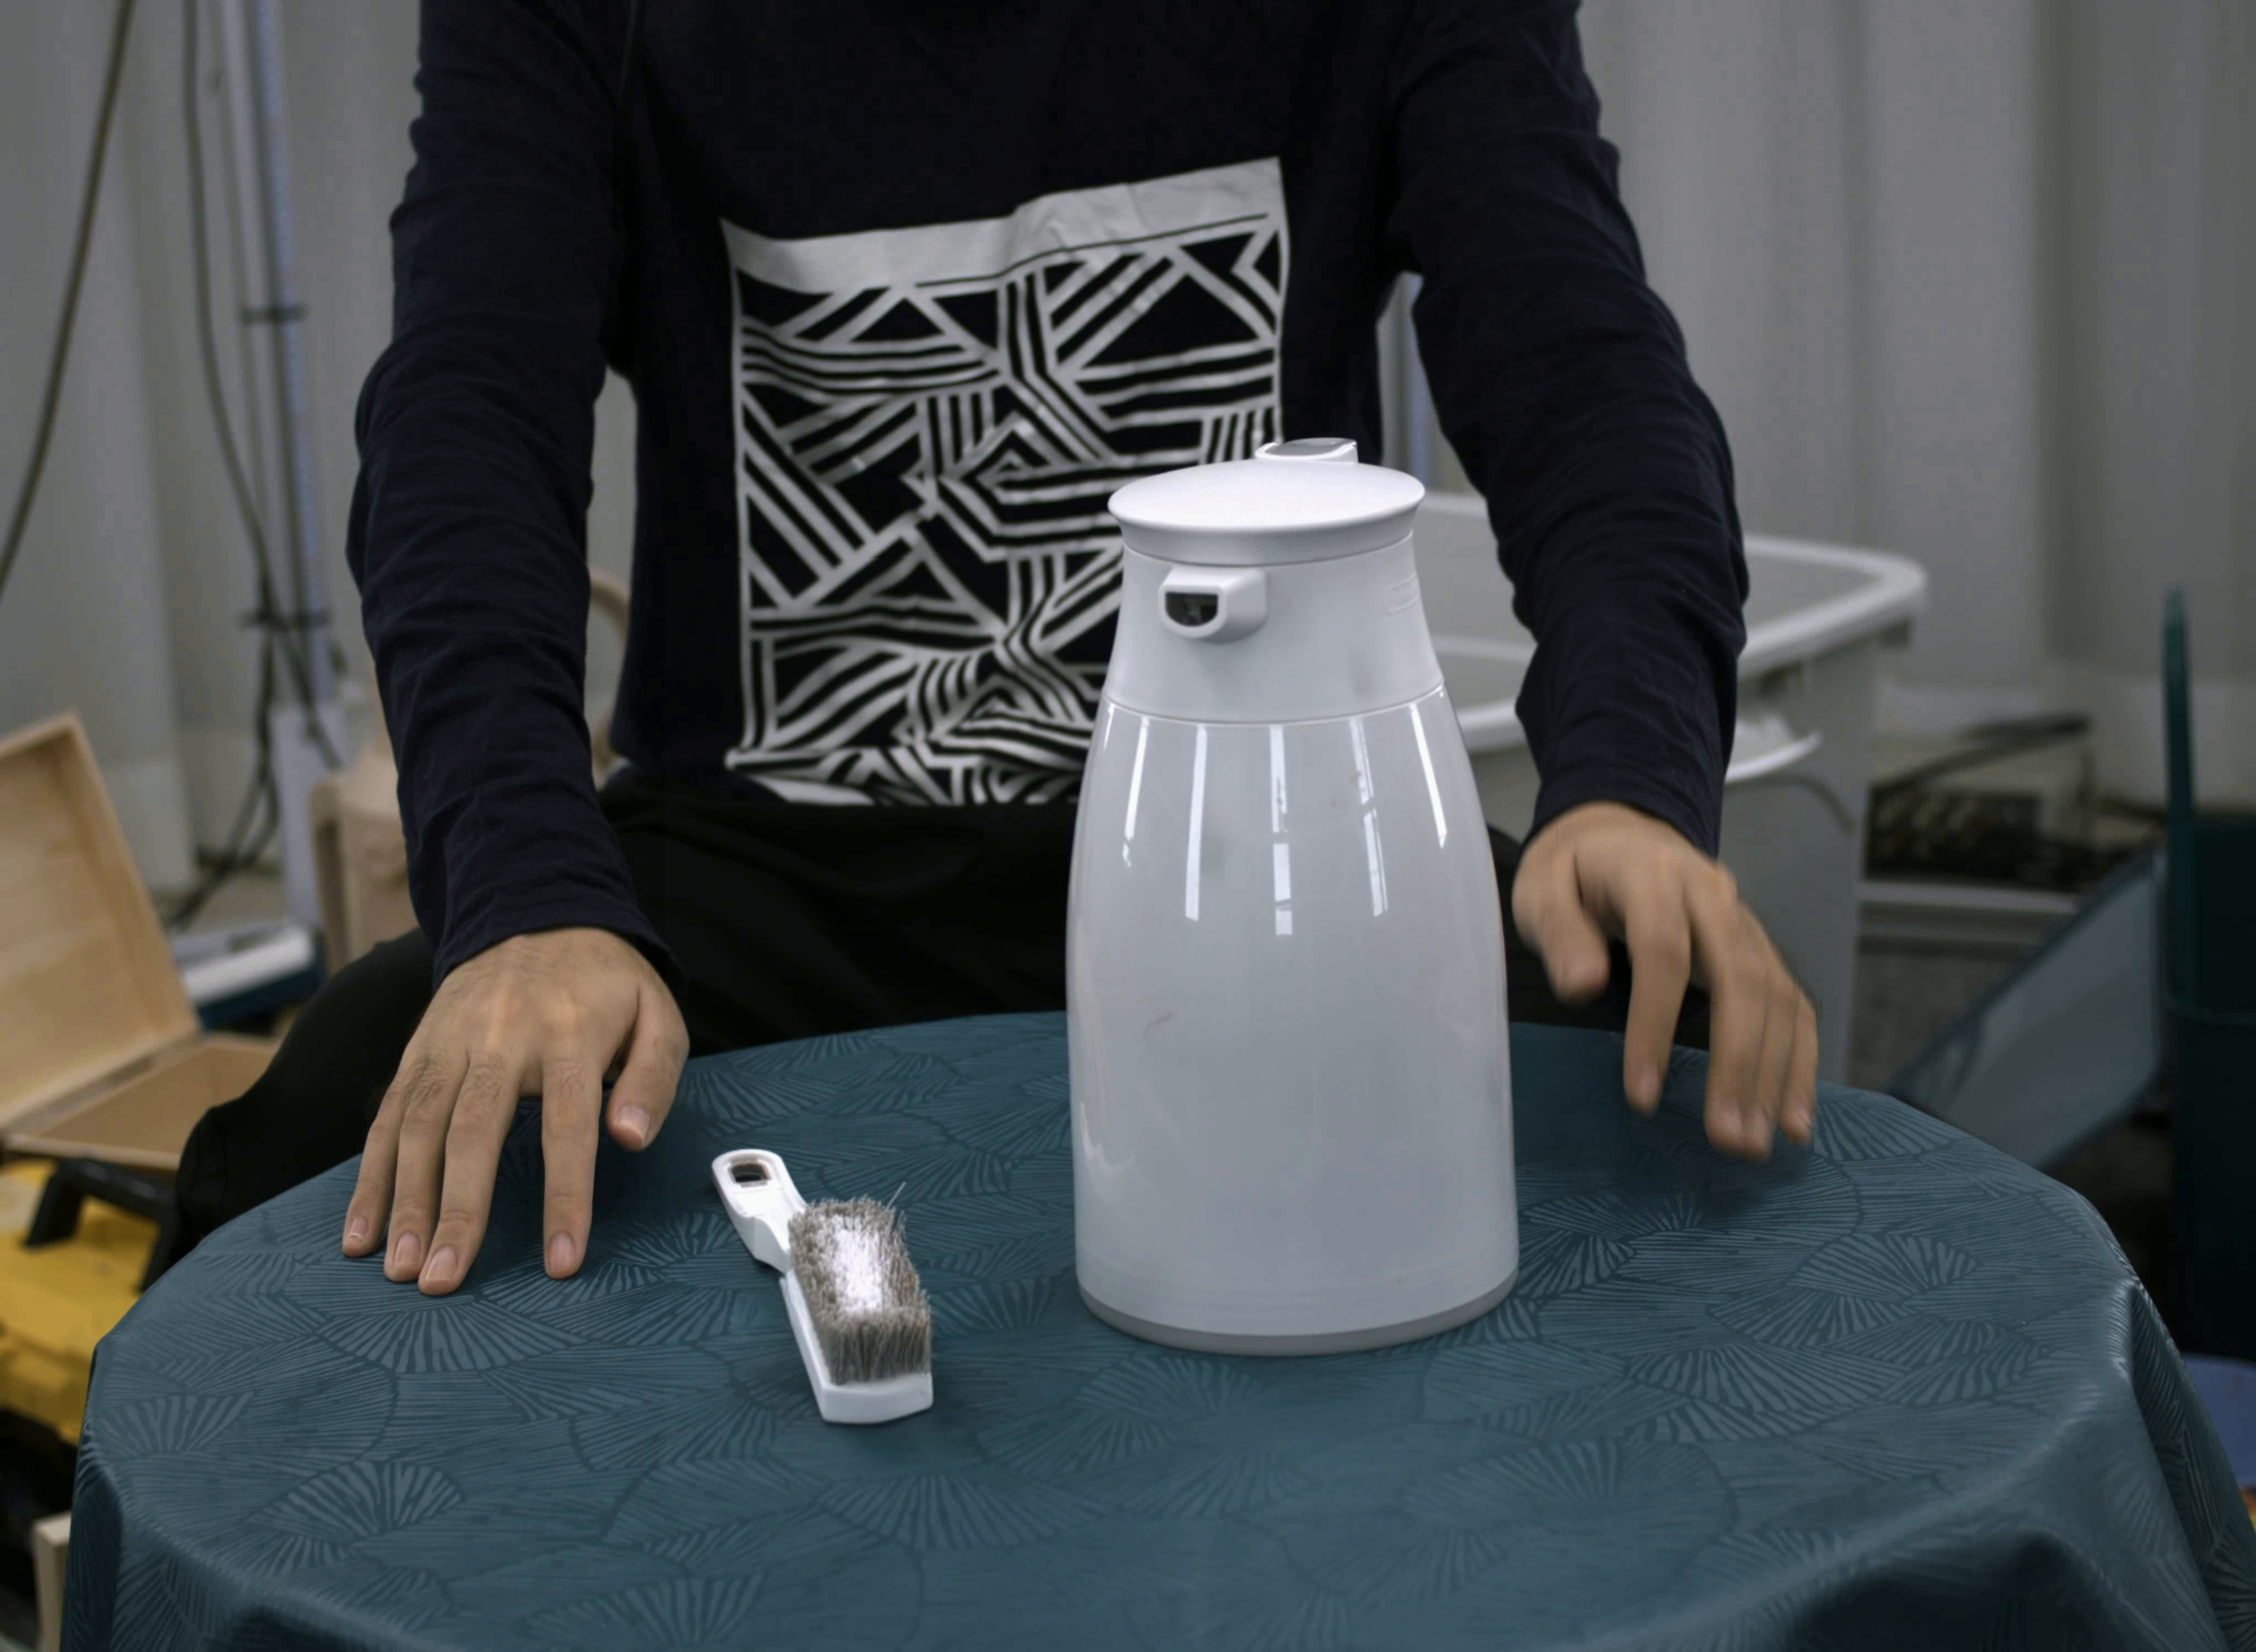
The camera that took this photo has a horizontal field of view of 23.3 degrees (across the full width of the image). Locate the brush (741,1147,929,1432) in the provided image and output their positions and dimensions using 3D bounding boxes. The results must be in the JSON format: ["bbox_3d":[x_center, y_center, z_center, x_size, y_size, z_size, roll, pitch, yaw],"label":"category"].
[{"bbox_3d":[-0.093,0.118,1.629,0.034,0.050,0.245,-10,16,-8],"label":"brush"}]

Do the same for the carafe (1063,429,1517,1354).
[{"bbox_3d":[0.049,0.010,1.617,0.132,0.248,0.168,2,14,20],"label":"carafe"}]
